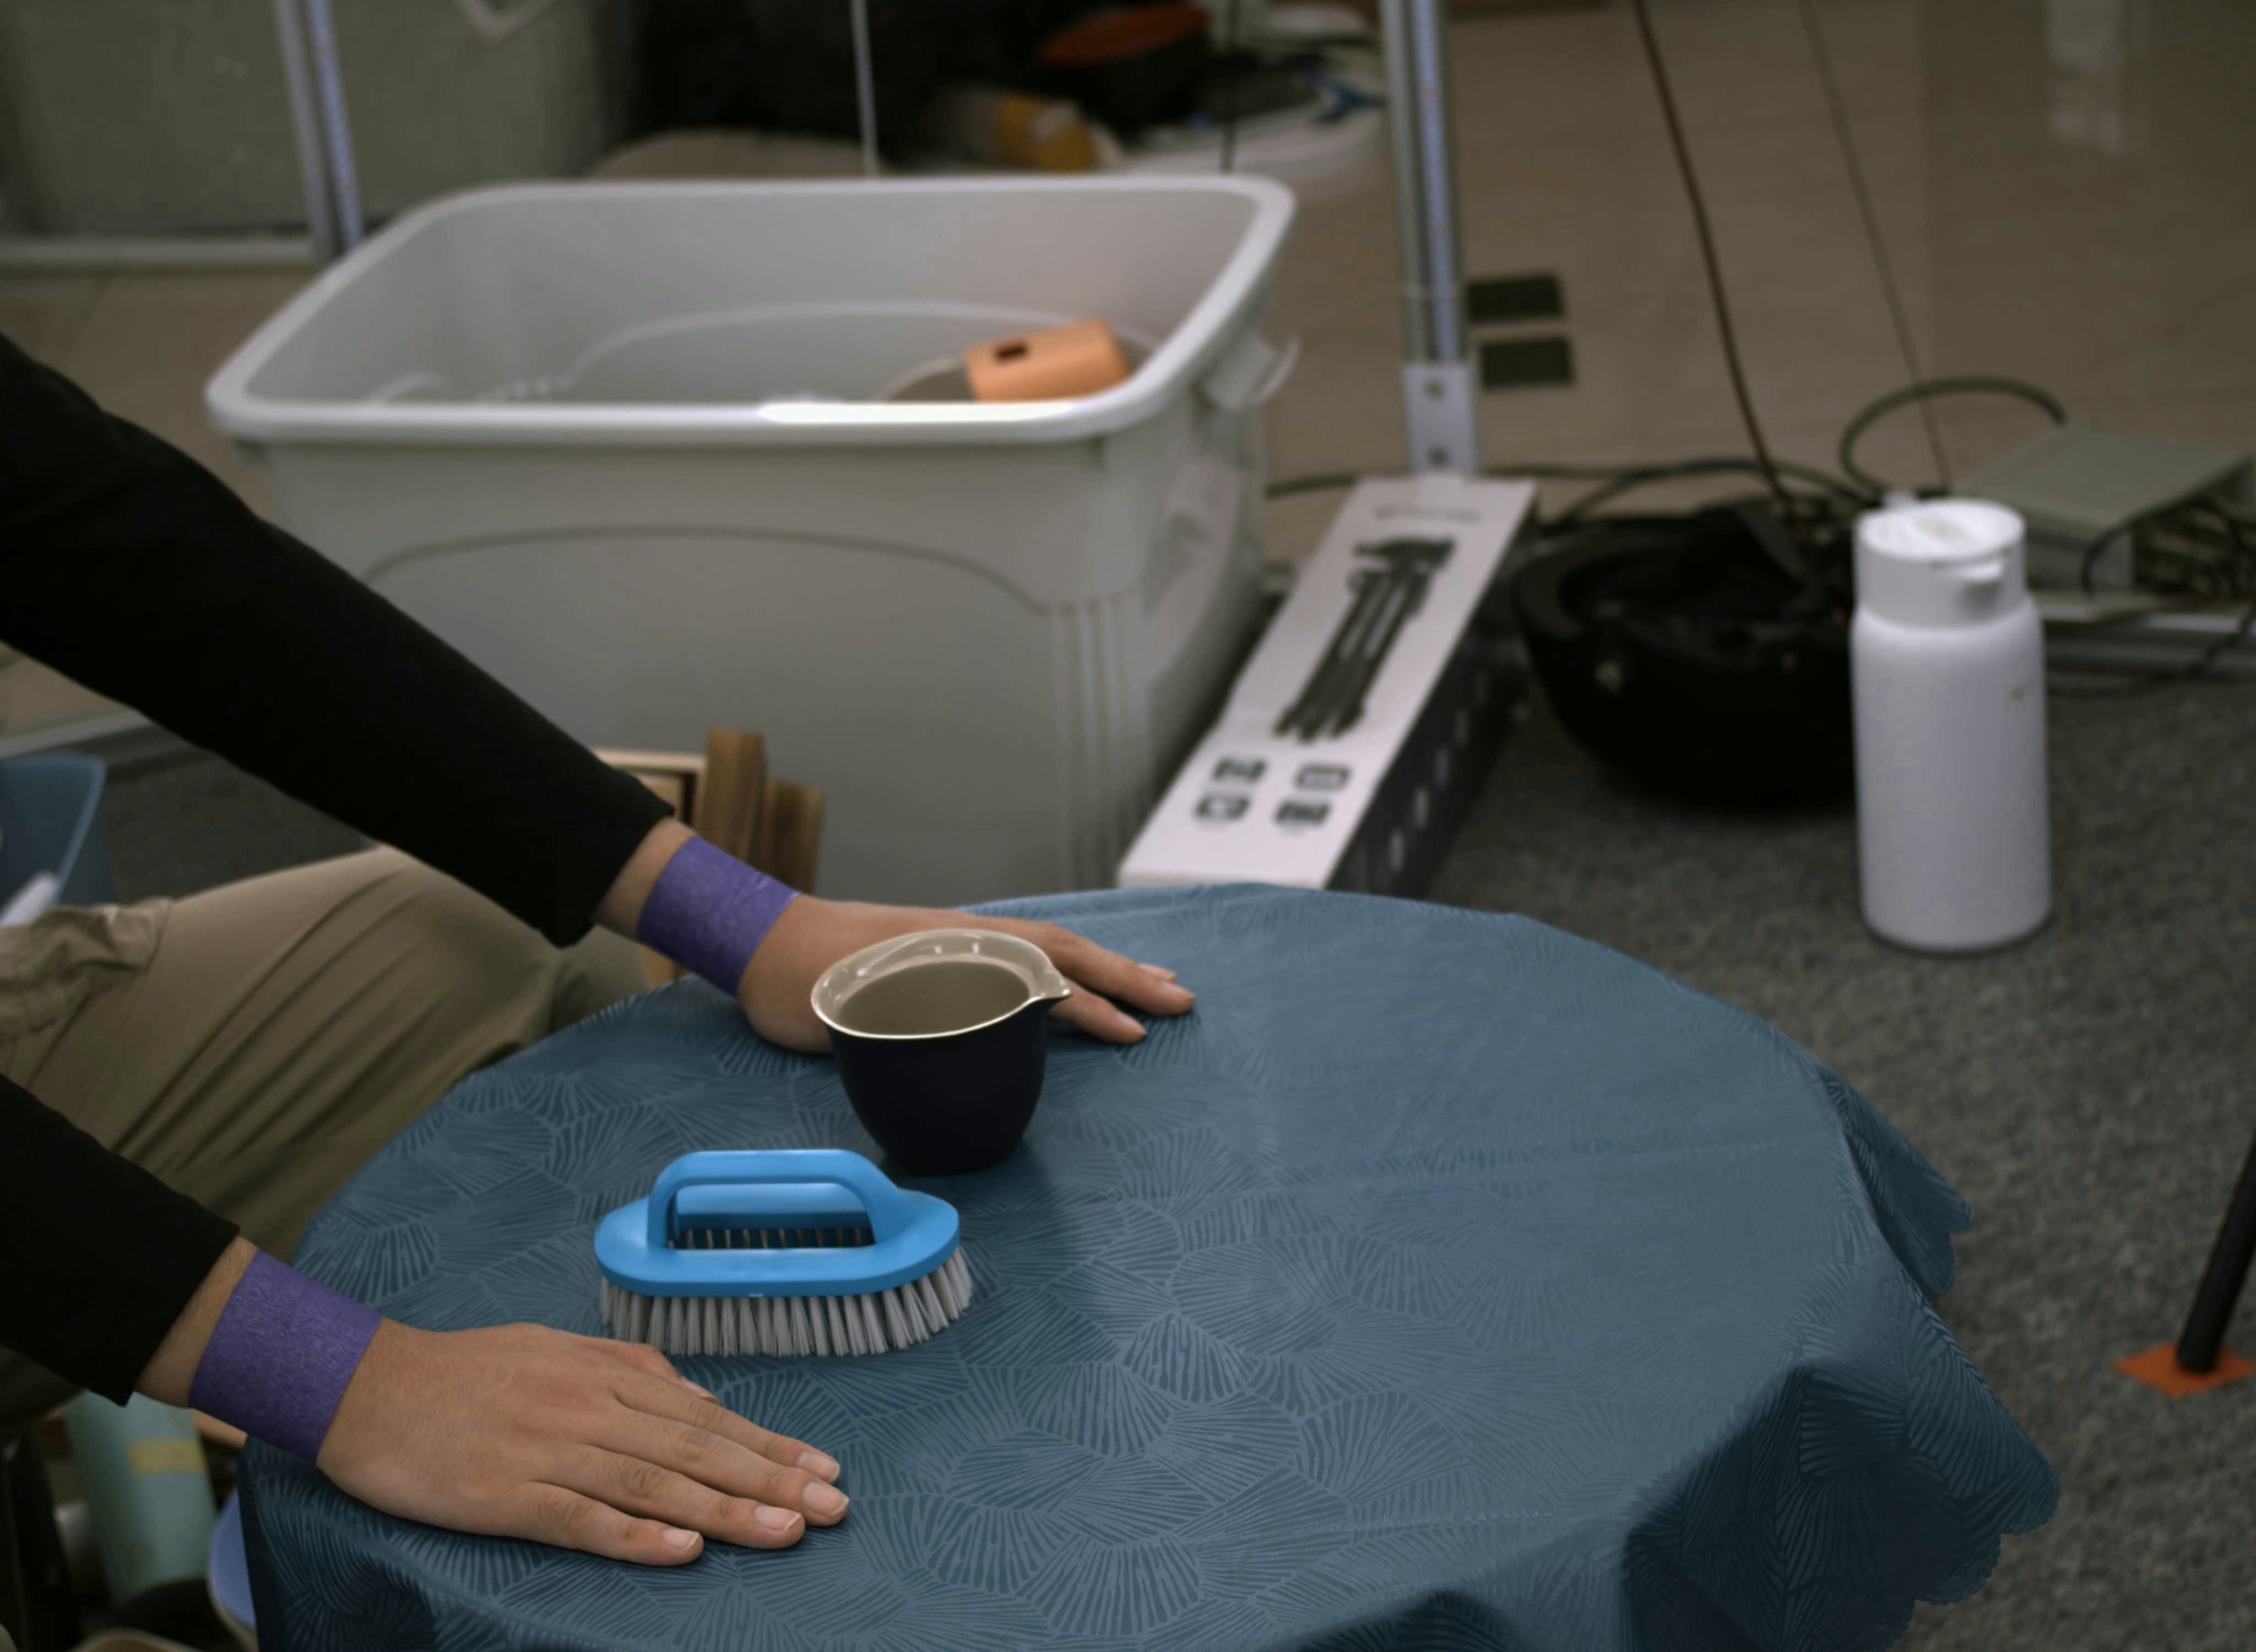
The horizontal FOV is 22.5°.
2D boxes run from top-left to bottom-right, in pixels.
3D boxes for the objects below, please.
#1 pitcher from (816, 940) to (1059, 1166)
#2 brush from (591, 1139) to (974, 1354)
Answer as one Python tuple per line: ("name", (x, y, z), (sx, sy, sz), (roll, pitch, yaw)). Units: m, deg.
("pitcher", (-0.070, 0.089, 2.181), (0.095, 0.072, 0.082), (5, 26, 19))
("brush", (-0.131, 0.146, 2.084), (0.141, 0.065, 0.083), (-2, 30, 13))
